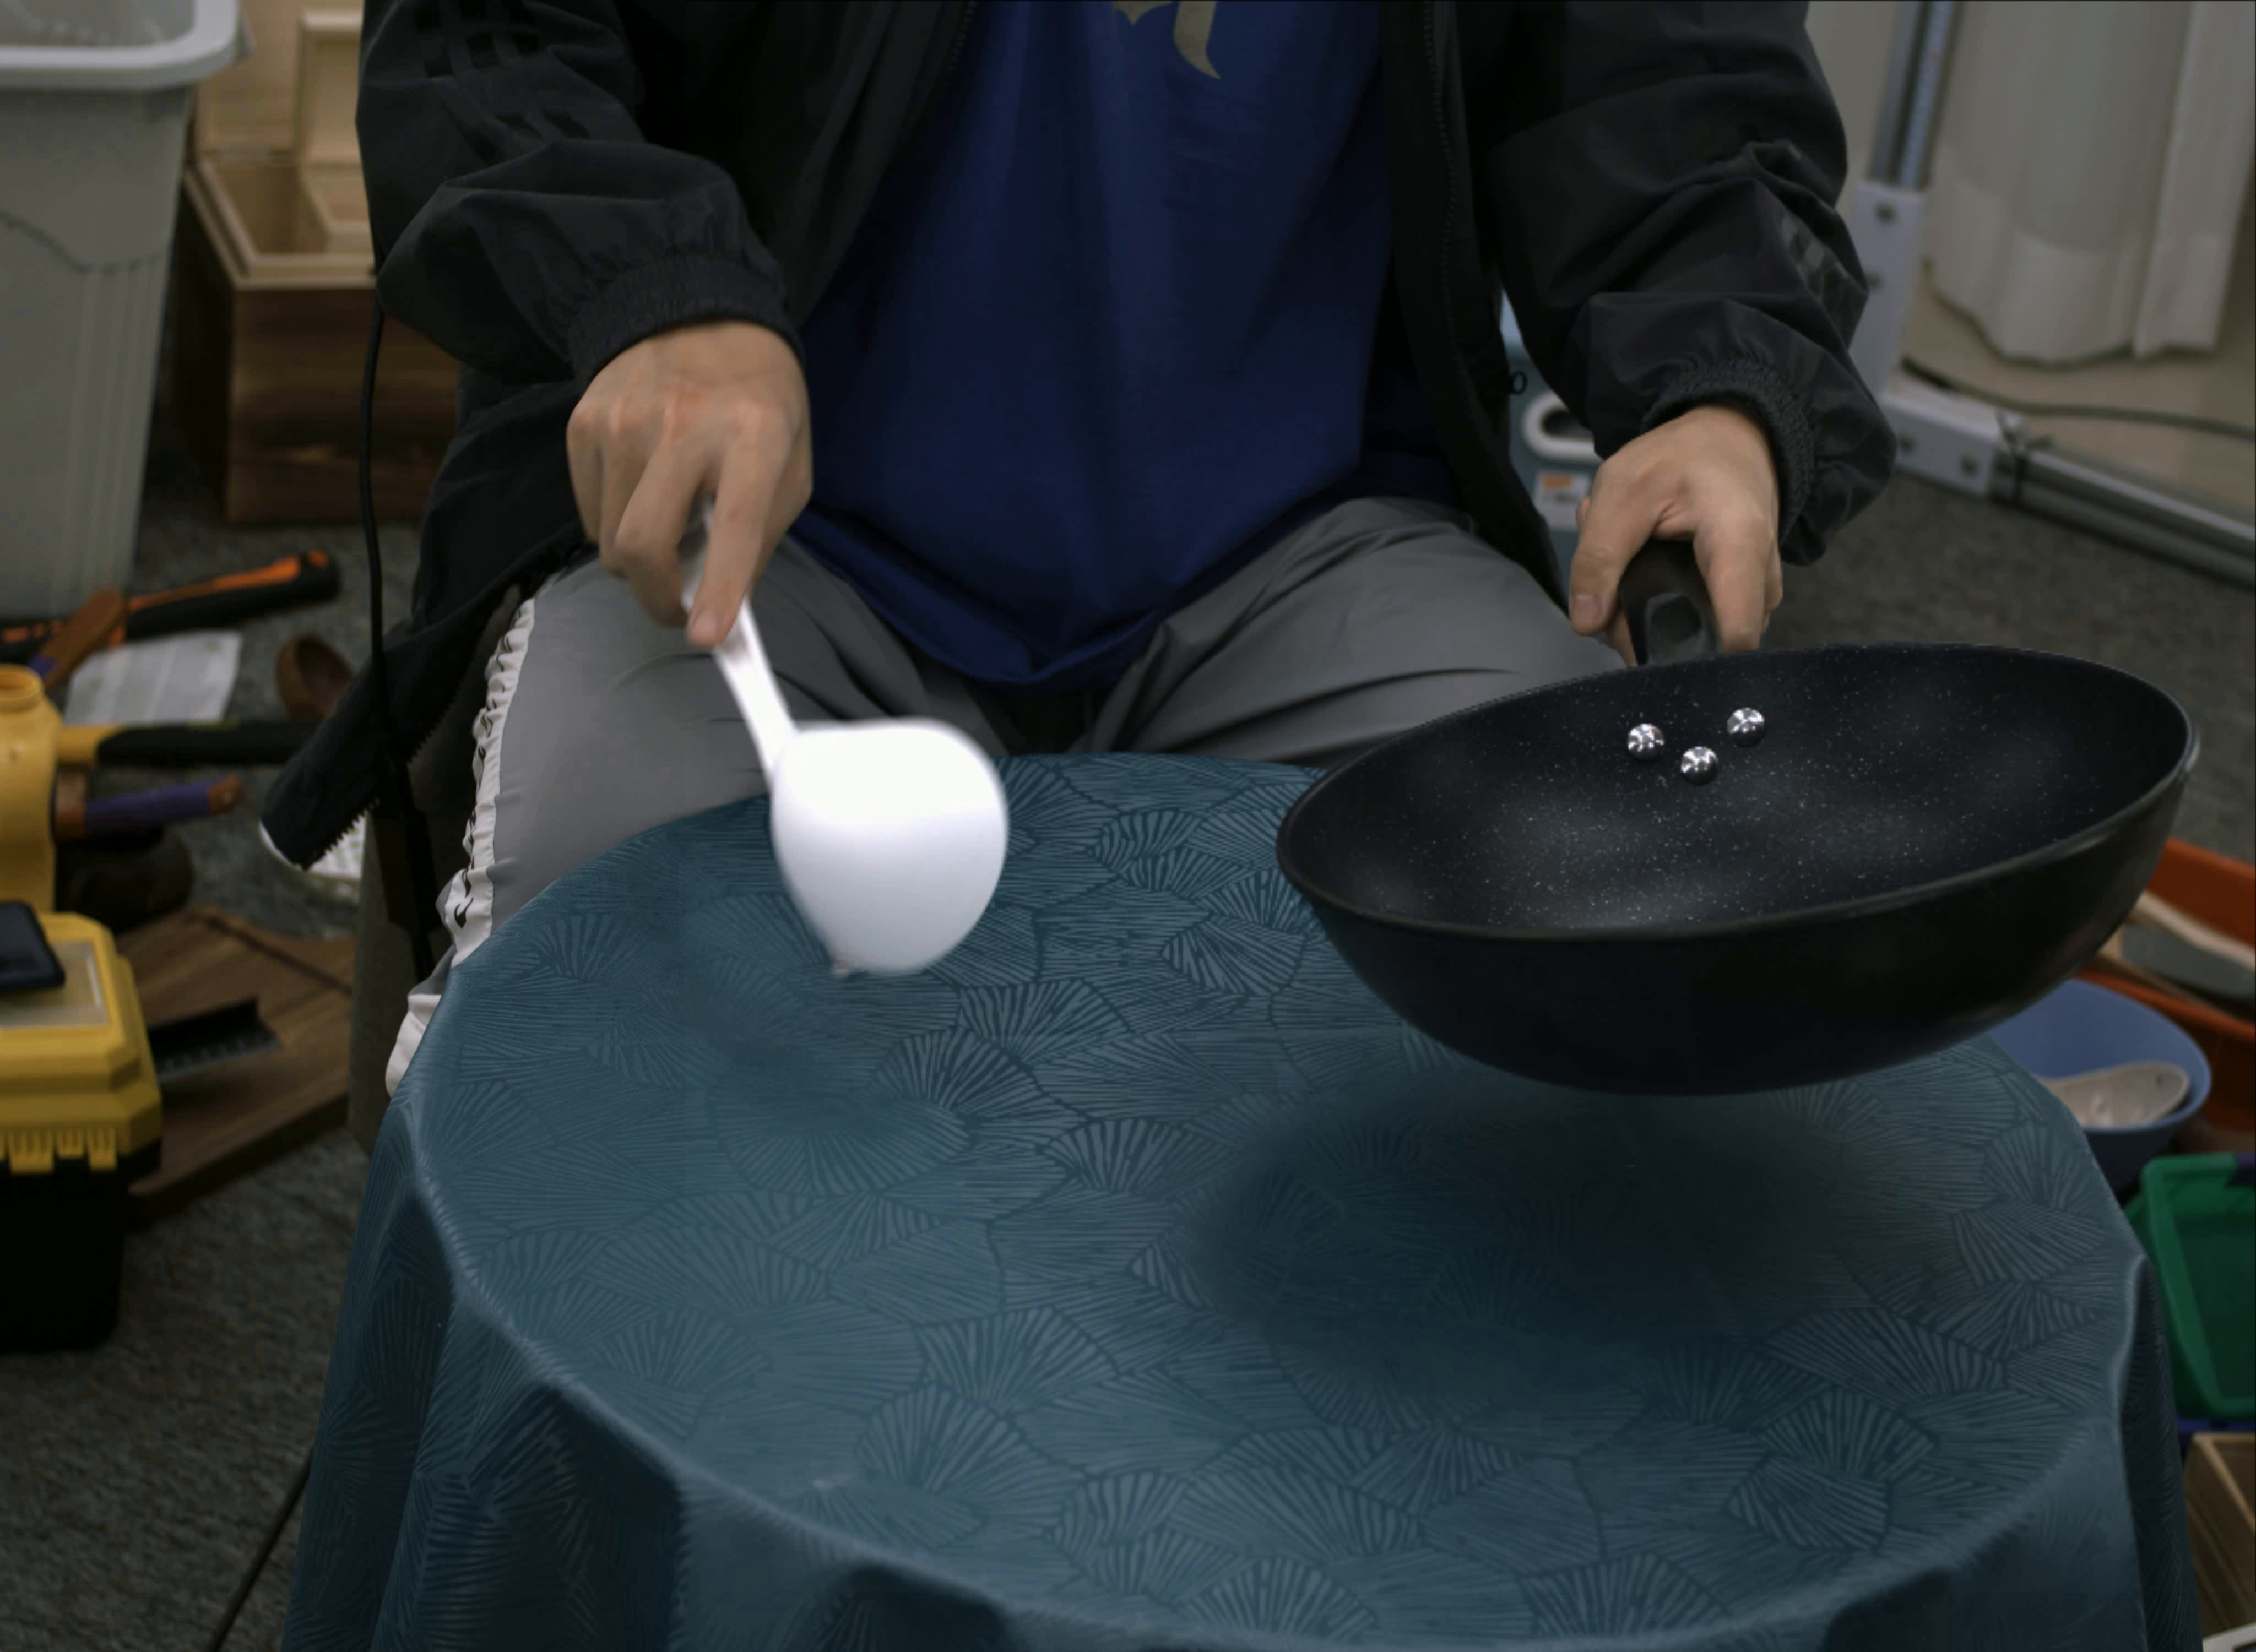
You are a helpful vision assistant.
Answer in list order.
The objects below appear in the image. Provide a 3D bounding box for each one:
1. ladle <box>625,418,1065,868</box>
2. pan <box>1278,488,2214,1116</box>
[{"bbox_3d":[-0.106,-0.078,1.919,0.069,0.090,0.295,6,22,-26],"label":"ladle"},{"bbox_3d":[0.206,-0.008,1.857,0.309,0.111,0.479,-7,17,2],"label":"pan"}]
